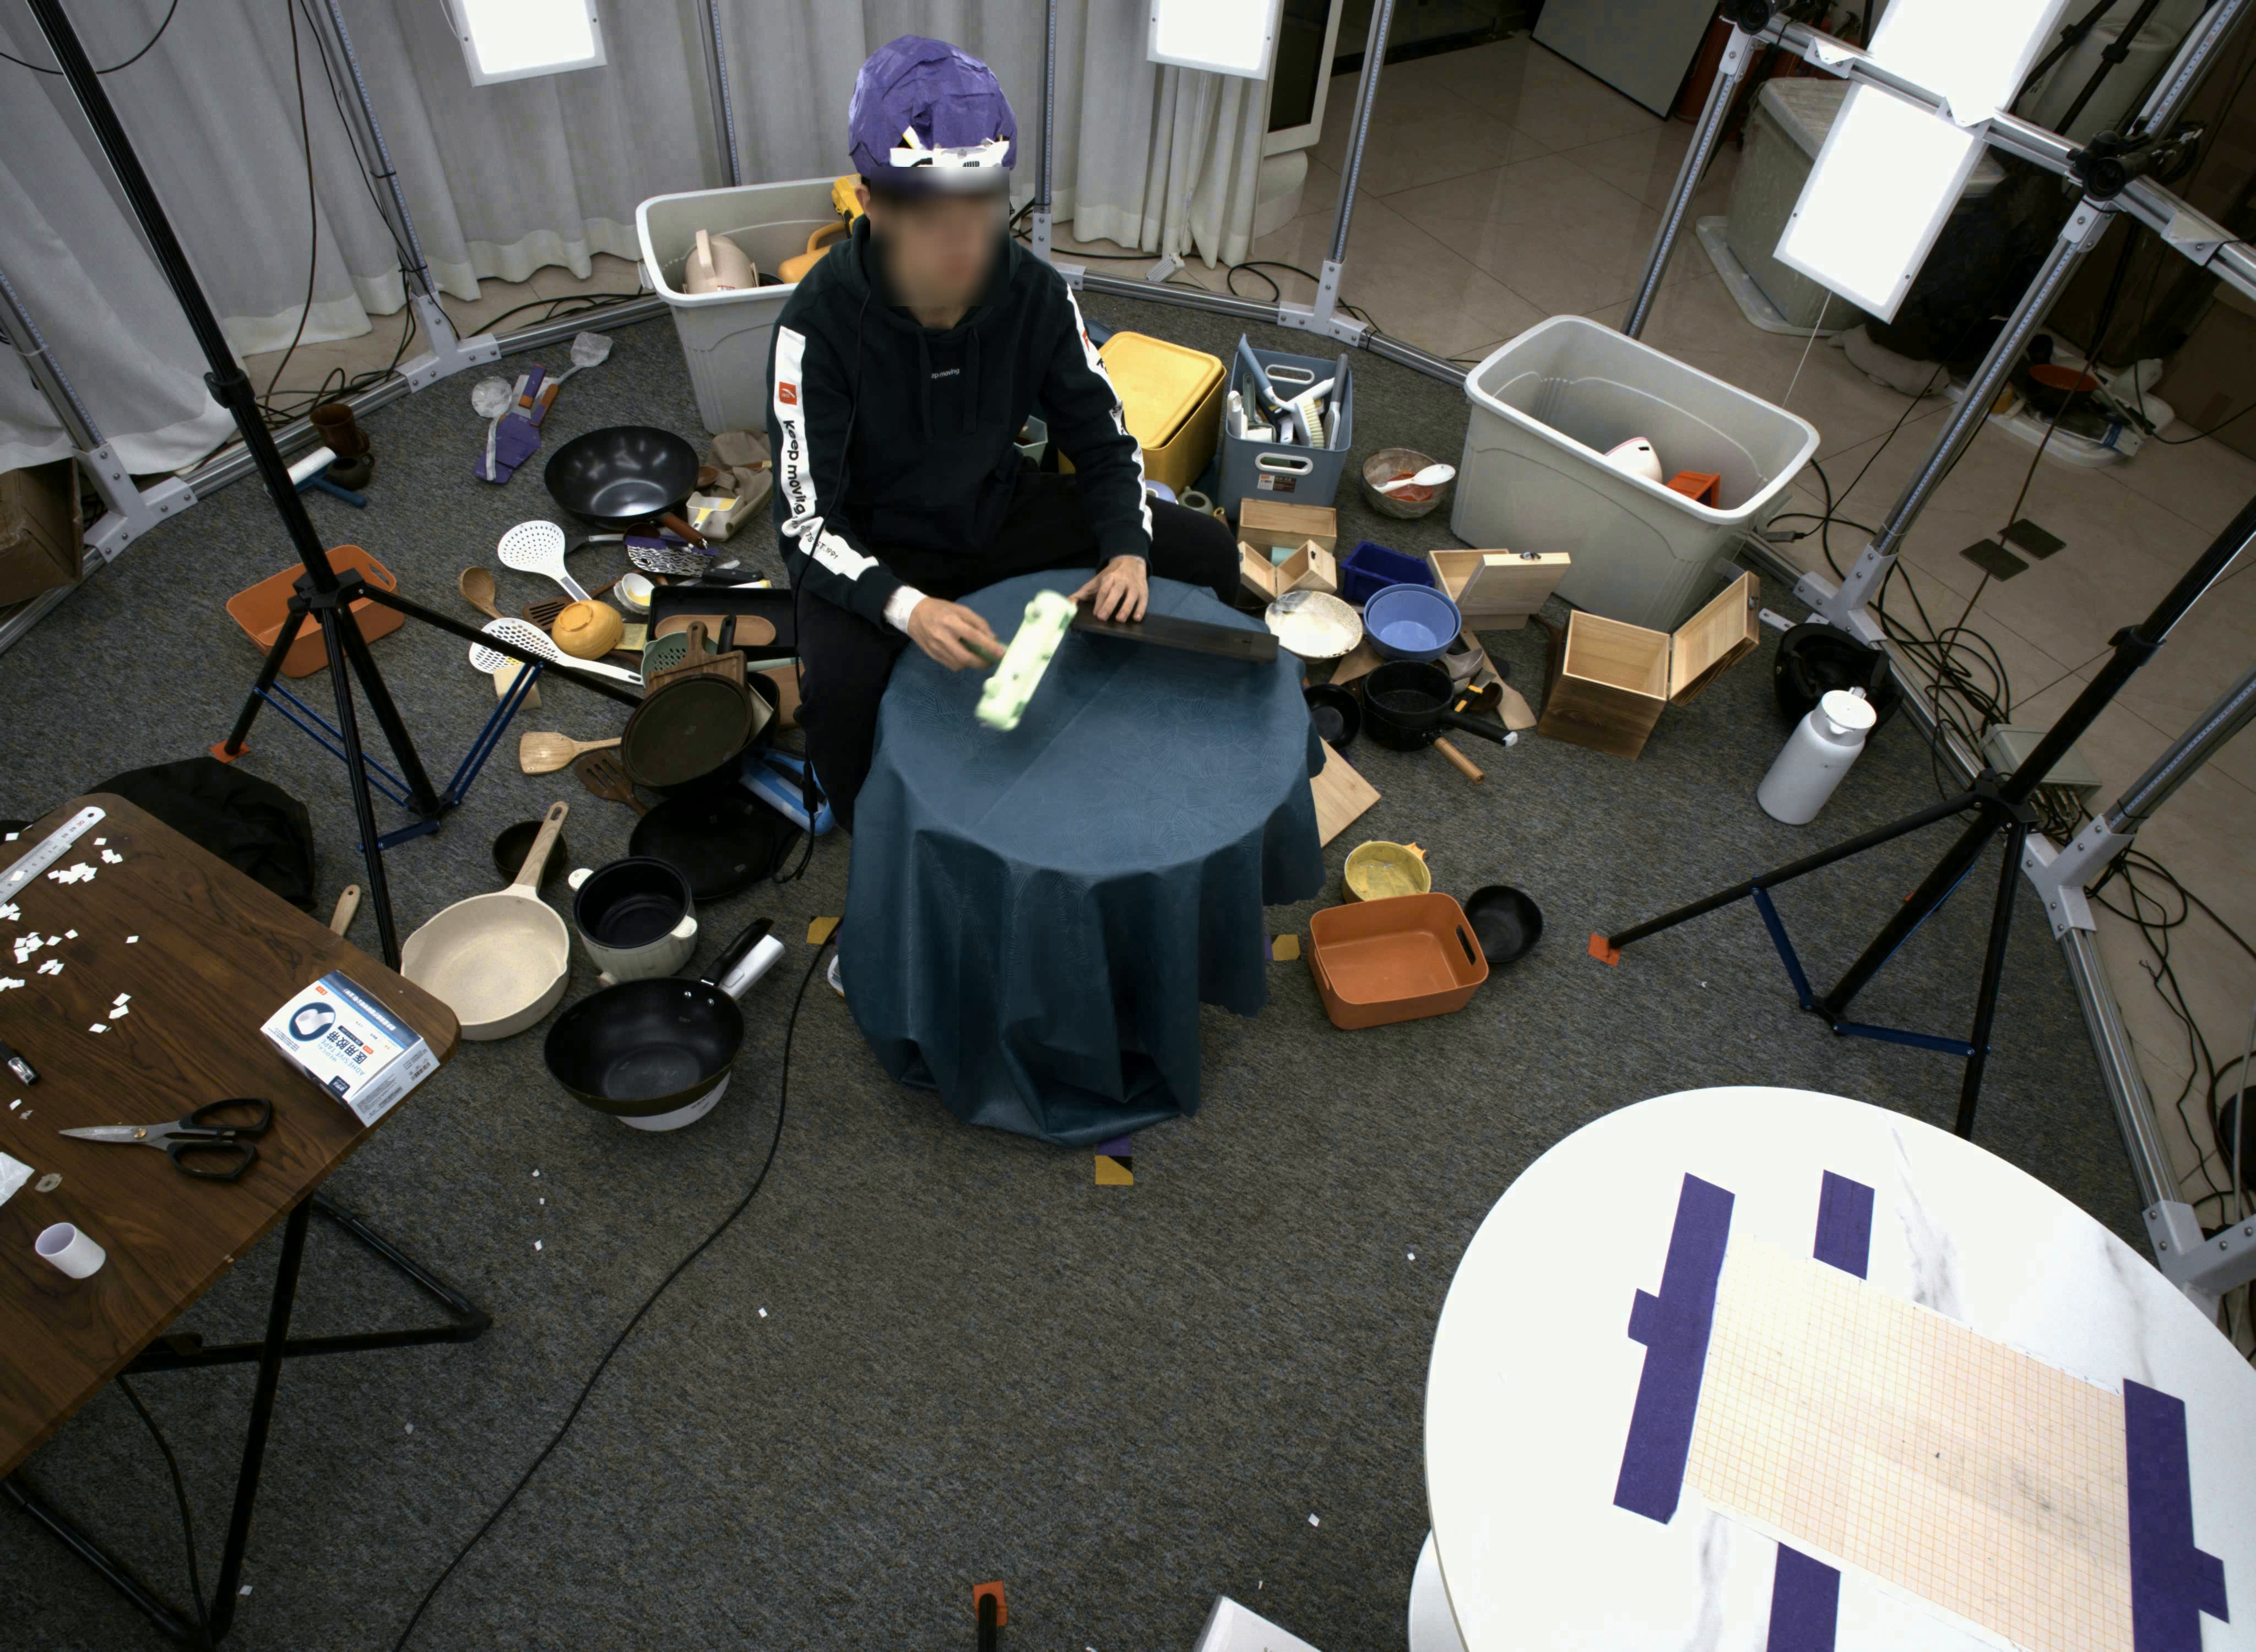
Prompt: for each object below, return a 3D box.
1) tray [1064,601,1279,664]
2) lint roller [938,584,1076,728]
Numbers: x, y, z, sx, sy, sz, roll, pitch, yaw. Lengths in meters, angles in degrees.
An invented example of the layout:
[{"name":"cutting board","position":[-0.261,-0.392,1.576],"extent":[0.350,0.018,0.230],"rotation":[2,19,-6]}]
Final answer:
[{"name":"tray","position":[0.065,-0.280,1.856],"extent":[0.306,0.018,0.172],"rotation":[10,19,5]},{"name":"lint roller","position":[-0.186,-0.249,1.731],"extent":[0.184,0.081,0.200],"rotation":[21,80,17]}]
